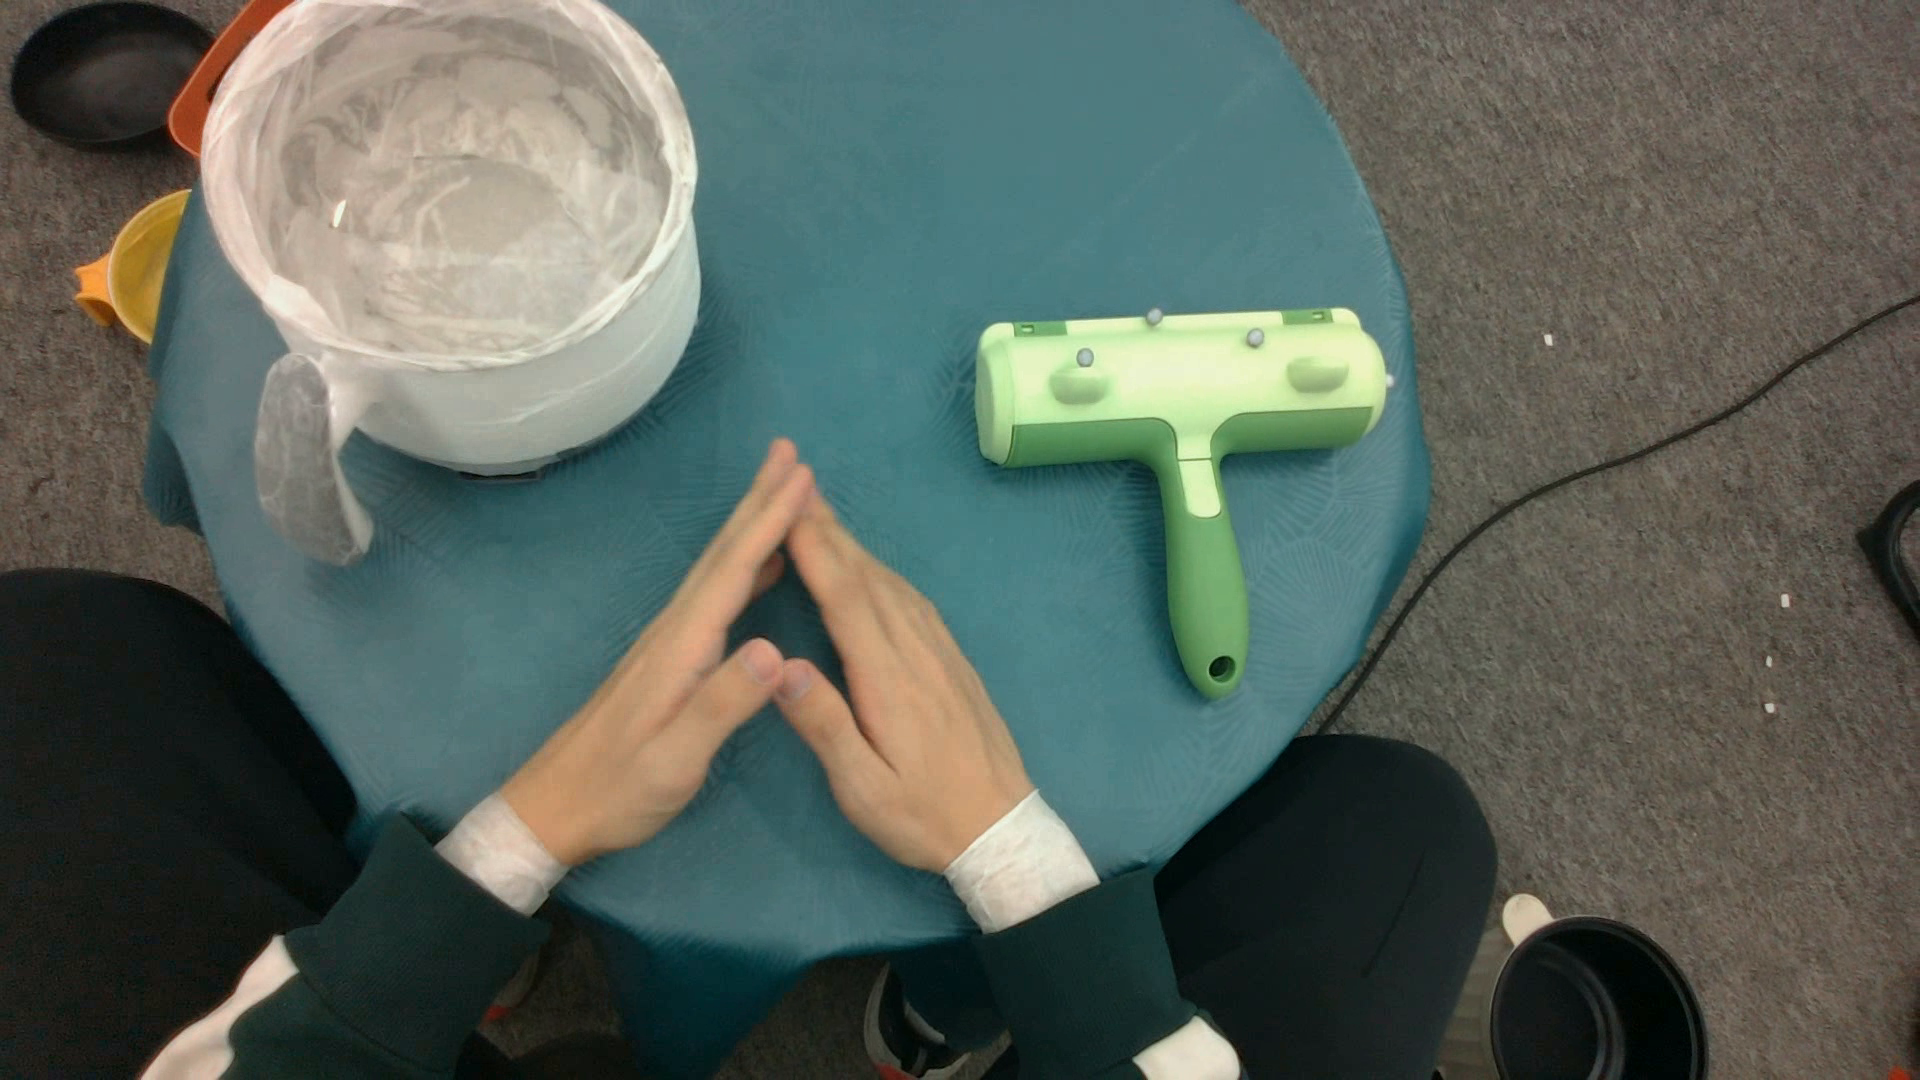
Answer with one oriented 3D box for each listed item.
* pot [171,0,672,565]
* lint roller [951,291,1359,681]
[{"bbox_3d":[-0.222,-0.104,0.569,0.179,0.136,0.234,24,70,-2],"label":"pot"},{"bbox_3d":[0.104,-0.031,0.642,0.199,0.082,0.184,-5,69,-13],"label":"lint roller"}]
